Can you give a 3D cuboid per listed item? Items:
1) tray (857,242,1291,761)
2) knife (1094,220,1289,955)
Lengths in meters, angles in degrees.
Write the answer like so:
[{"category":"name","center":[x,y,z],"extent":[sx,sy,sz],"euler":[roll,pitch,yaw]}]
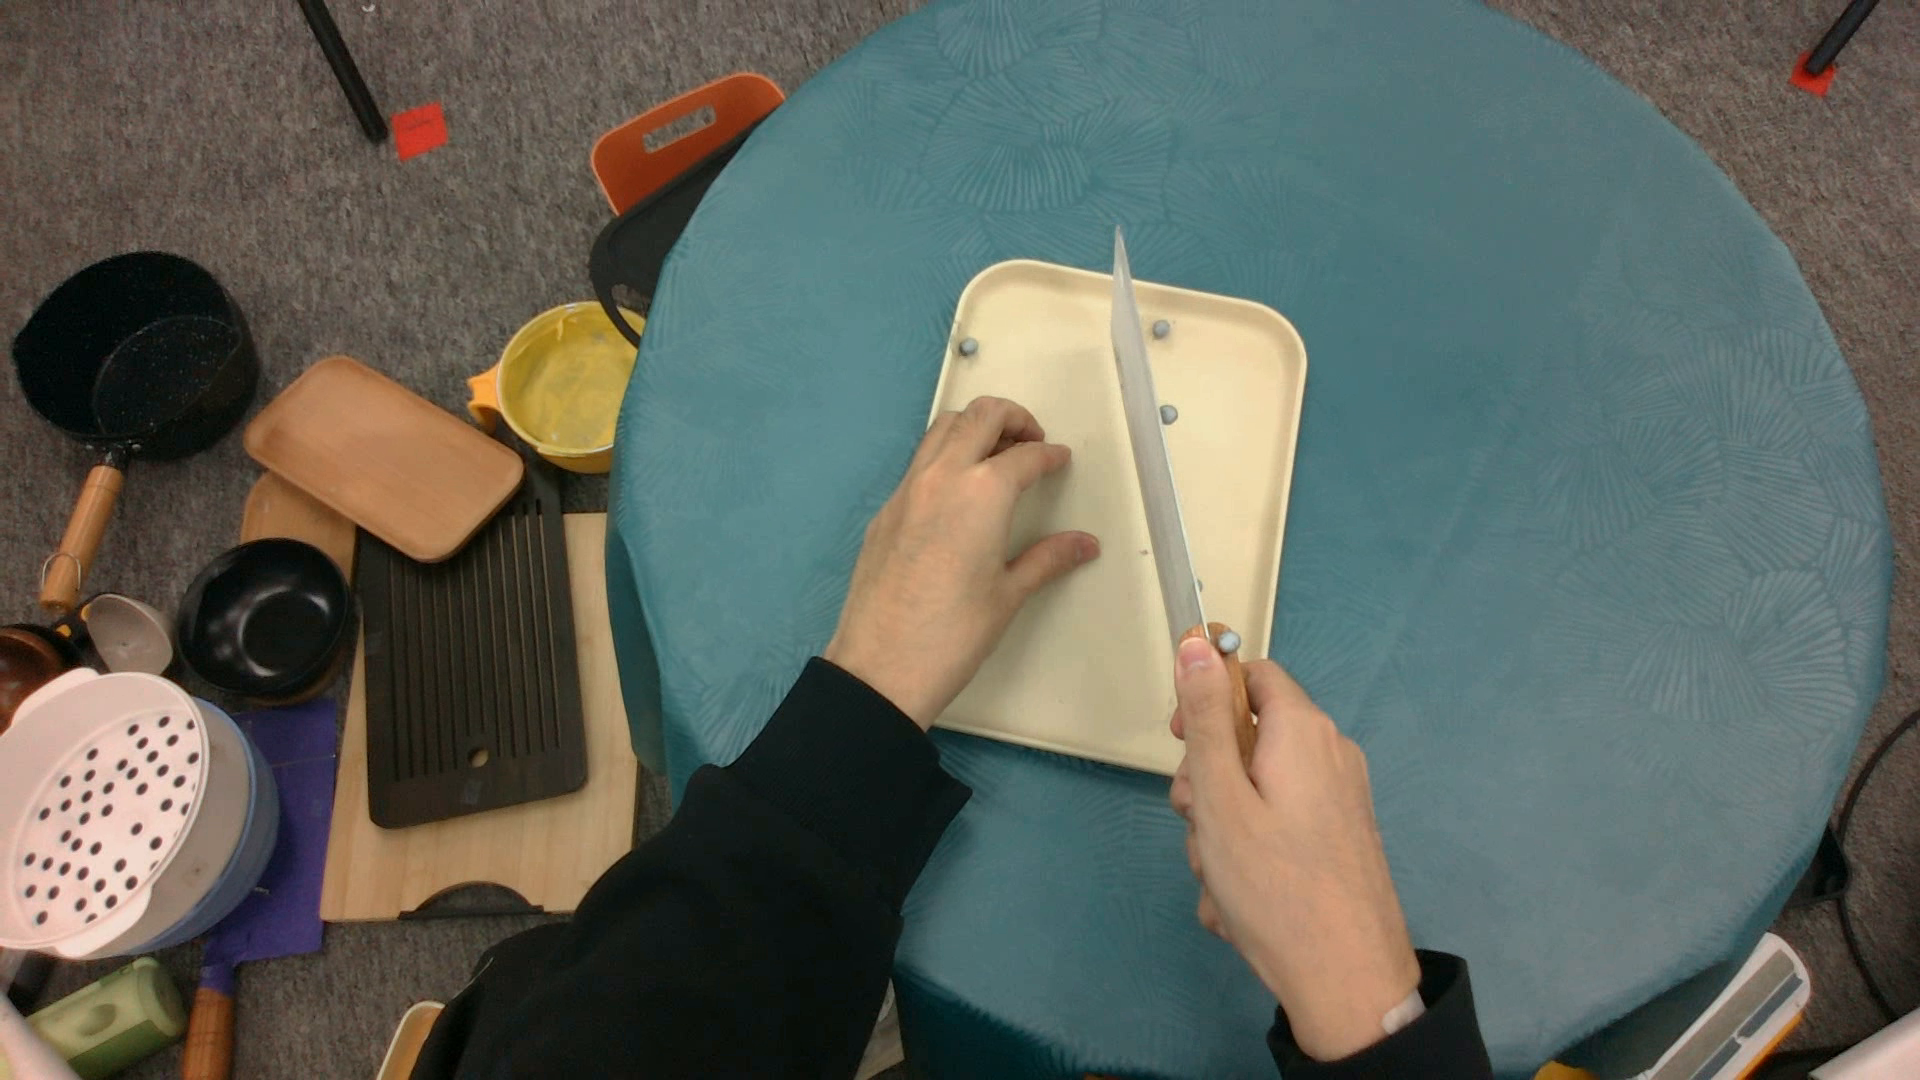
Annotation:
[{"category":"tray","center":[0.057,-0.024,0.631],"extent":[0.171,0.017,0.240],"euler":[13,67,2]},{"category":"knife","center":[0.084,0.015,0.559],"extent":[0.021,0.092,0.306],"euler":[-8,66,-1]}]
